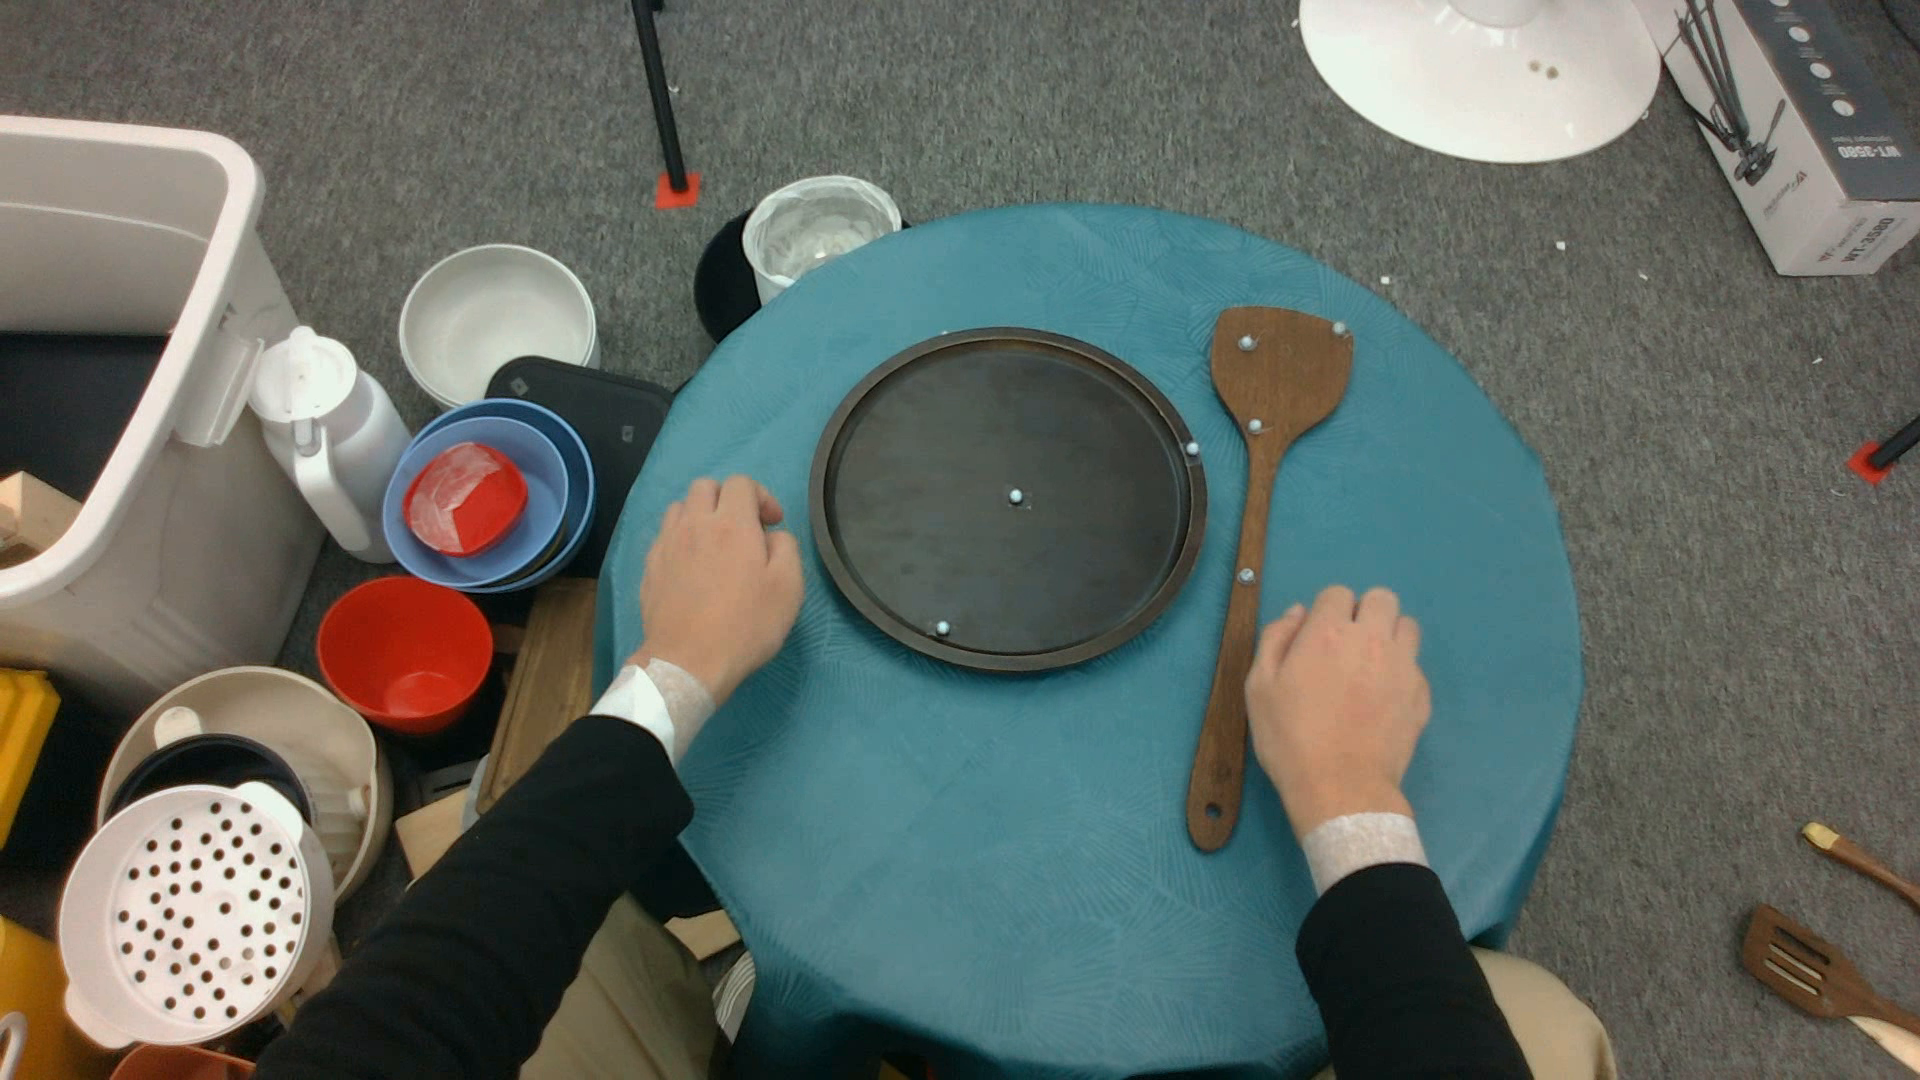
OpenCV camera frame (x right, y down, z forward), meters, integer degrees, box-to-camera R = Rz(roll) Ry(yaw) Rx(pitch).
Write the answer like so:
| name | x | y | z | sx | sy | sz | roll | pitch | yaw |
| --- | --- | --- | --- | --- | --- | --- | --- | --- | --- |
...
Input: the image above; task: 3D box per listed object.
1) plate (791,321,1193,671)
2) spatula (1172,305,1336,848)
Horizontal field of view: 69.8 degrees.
| name | x | y | z | sx | sy | sz | roll | pitch | yaw |
| --- | --- | --- | --- | --- | --- | --- | --- | --- | --- |
| plate | 0.020 | -0.033 | 0.871 | 0.255 | 0.029 | 0.256 | 2 | 61 | -3 |
| spatula | 0.172 | 0.005 | 0.860 | 0.096 | 0.016 | 0.387 | 11 | 61 | 5 |
